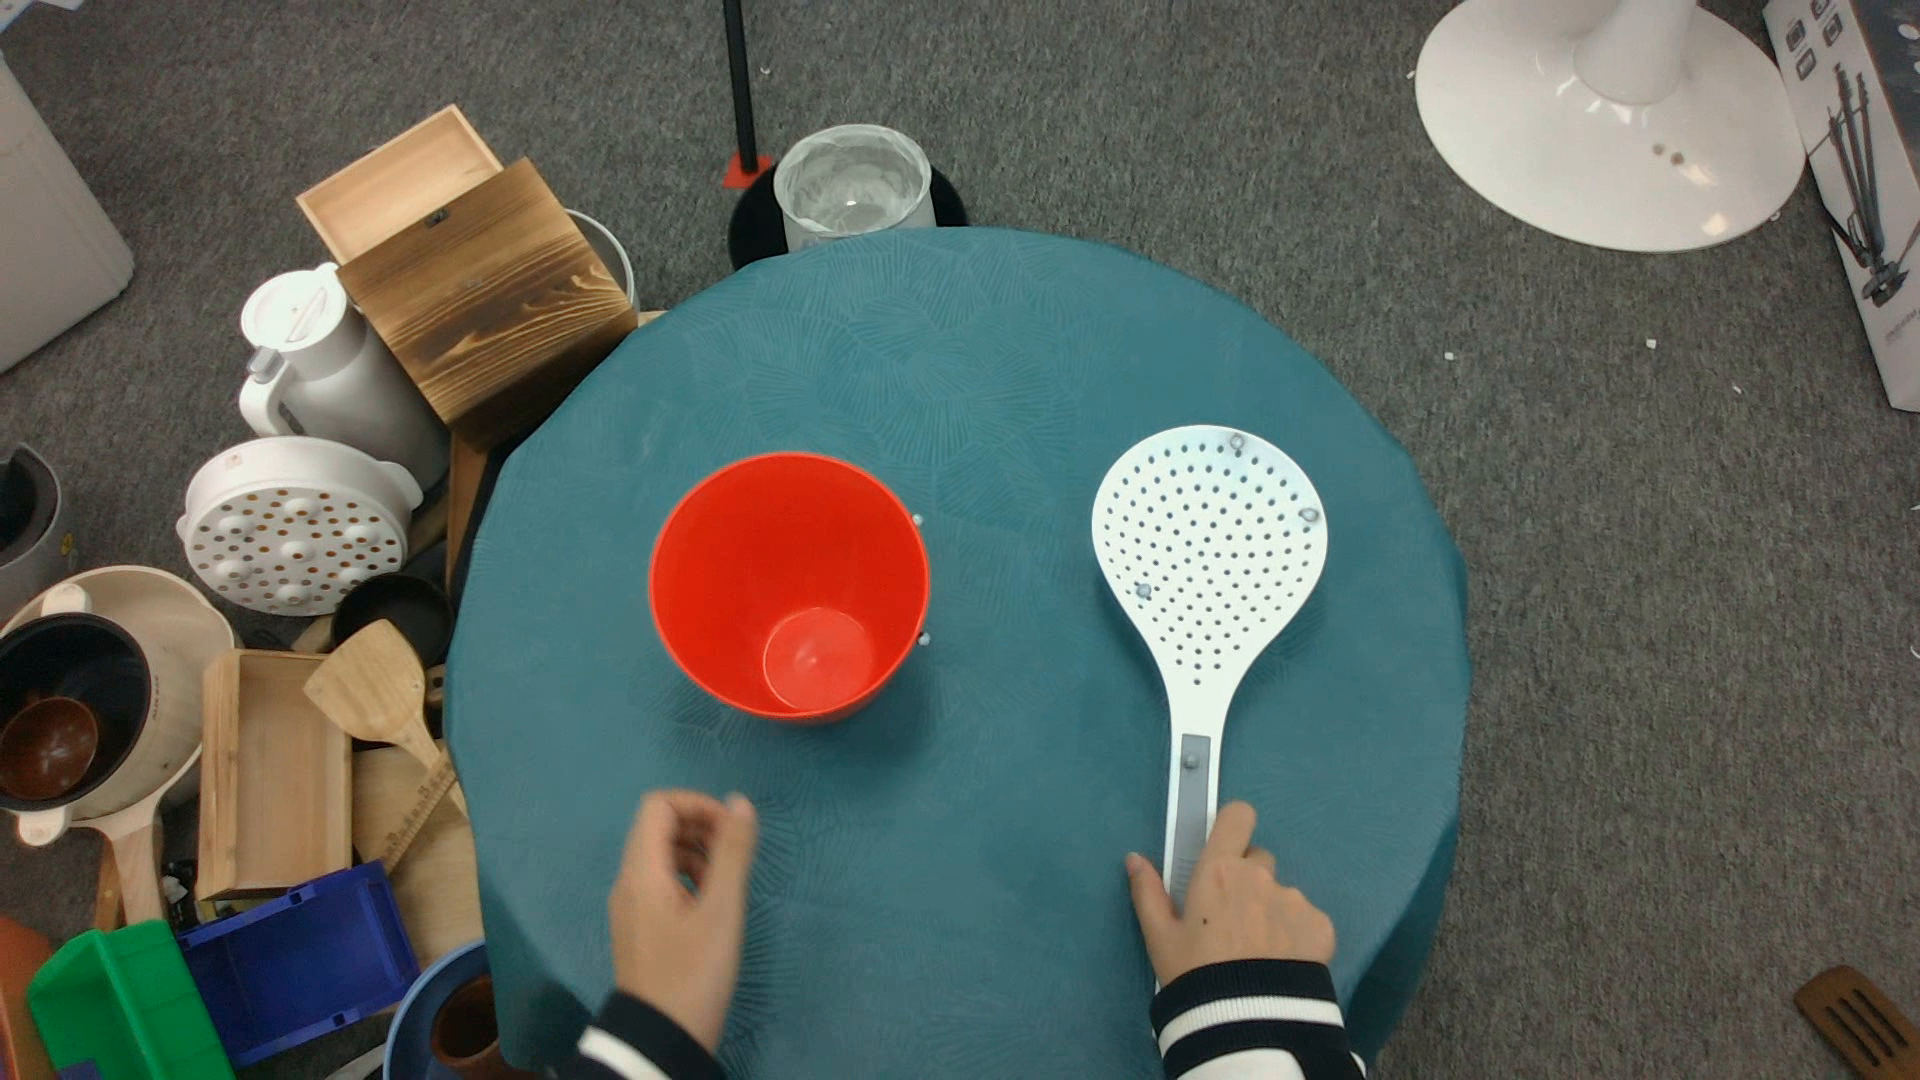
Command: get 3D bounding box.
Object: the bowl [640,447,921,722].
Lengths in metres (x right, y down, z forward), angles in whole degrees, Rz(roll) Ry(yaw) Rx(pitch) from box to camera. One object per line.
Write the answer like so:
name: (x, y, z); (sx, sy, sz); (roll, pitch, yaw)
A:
bowl: (-0.095, 0.037, 0.765); (0.148, 0.104, 0.148); (1, 61, -2)

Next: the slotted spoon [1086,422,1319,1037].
slotted spoon: (0.127, 0.092, 0.767); (0.136, 0.045, 0.351); (7, 62, 4)
